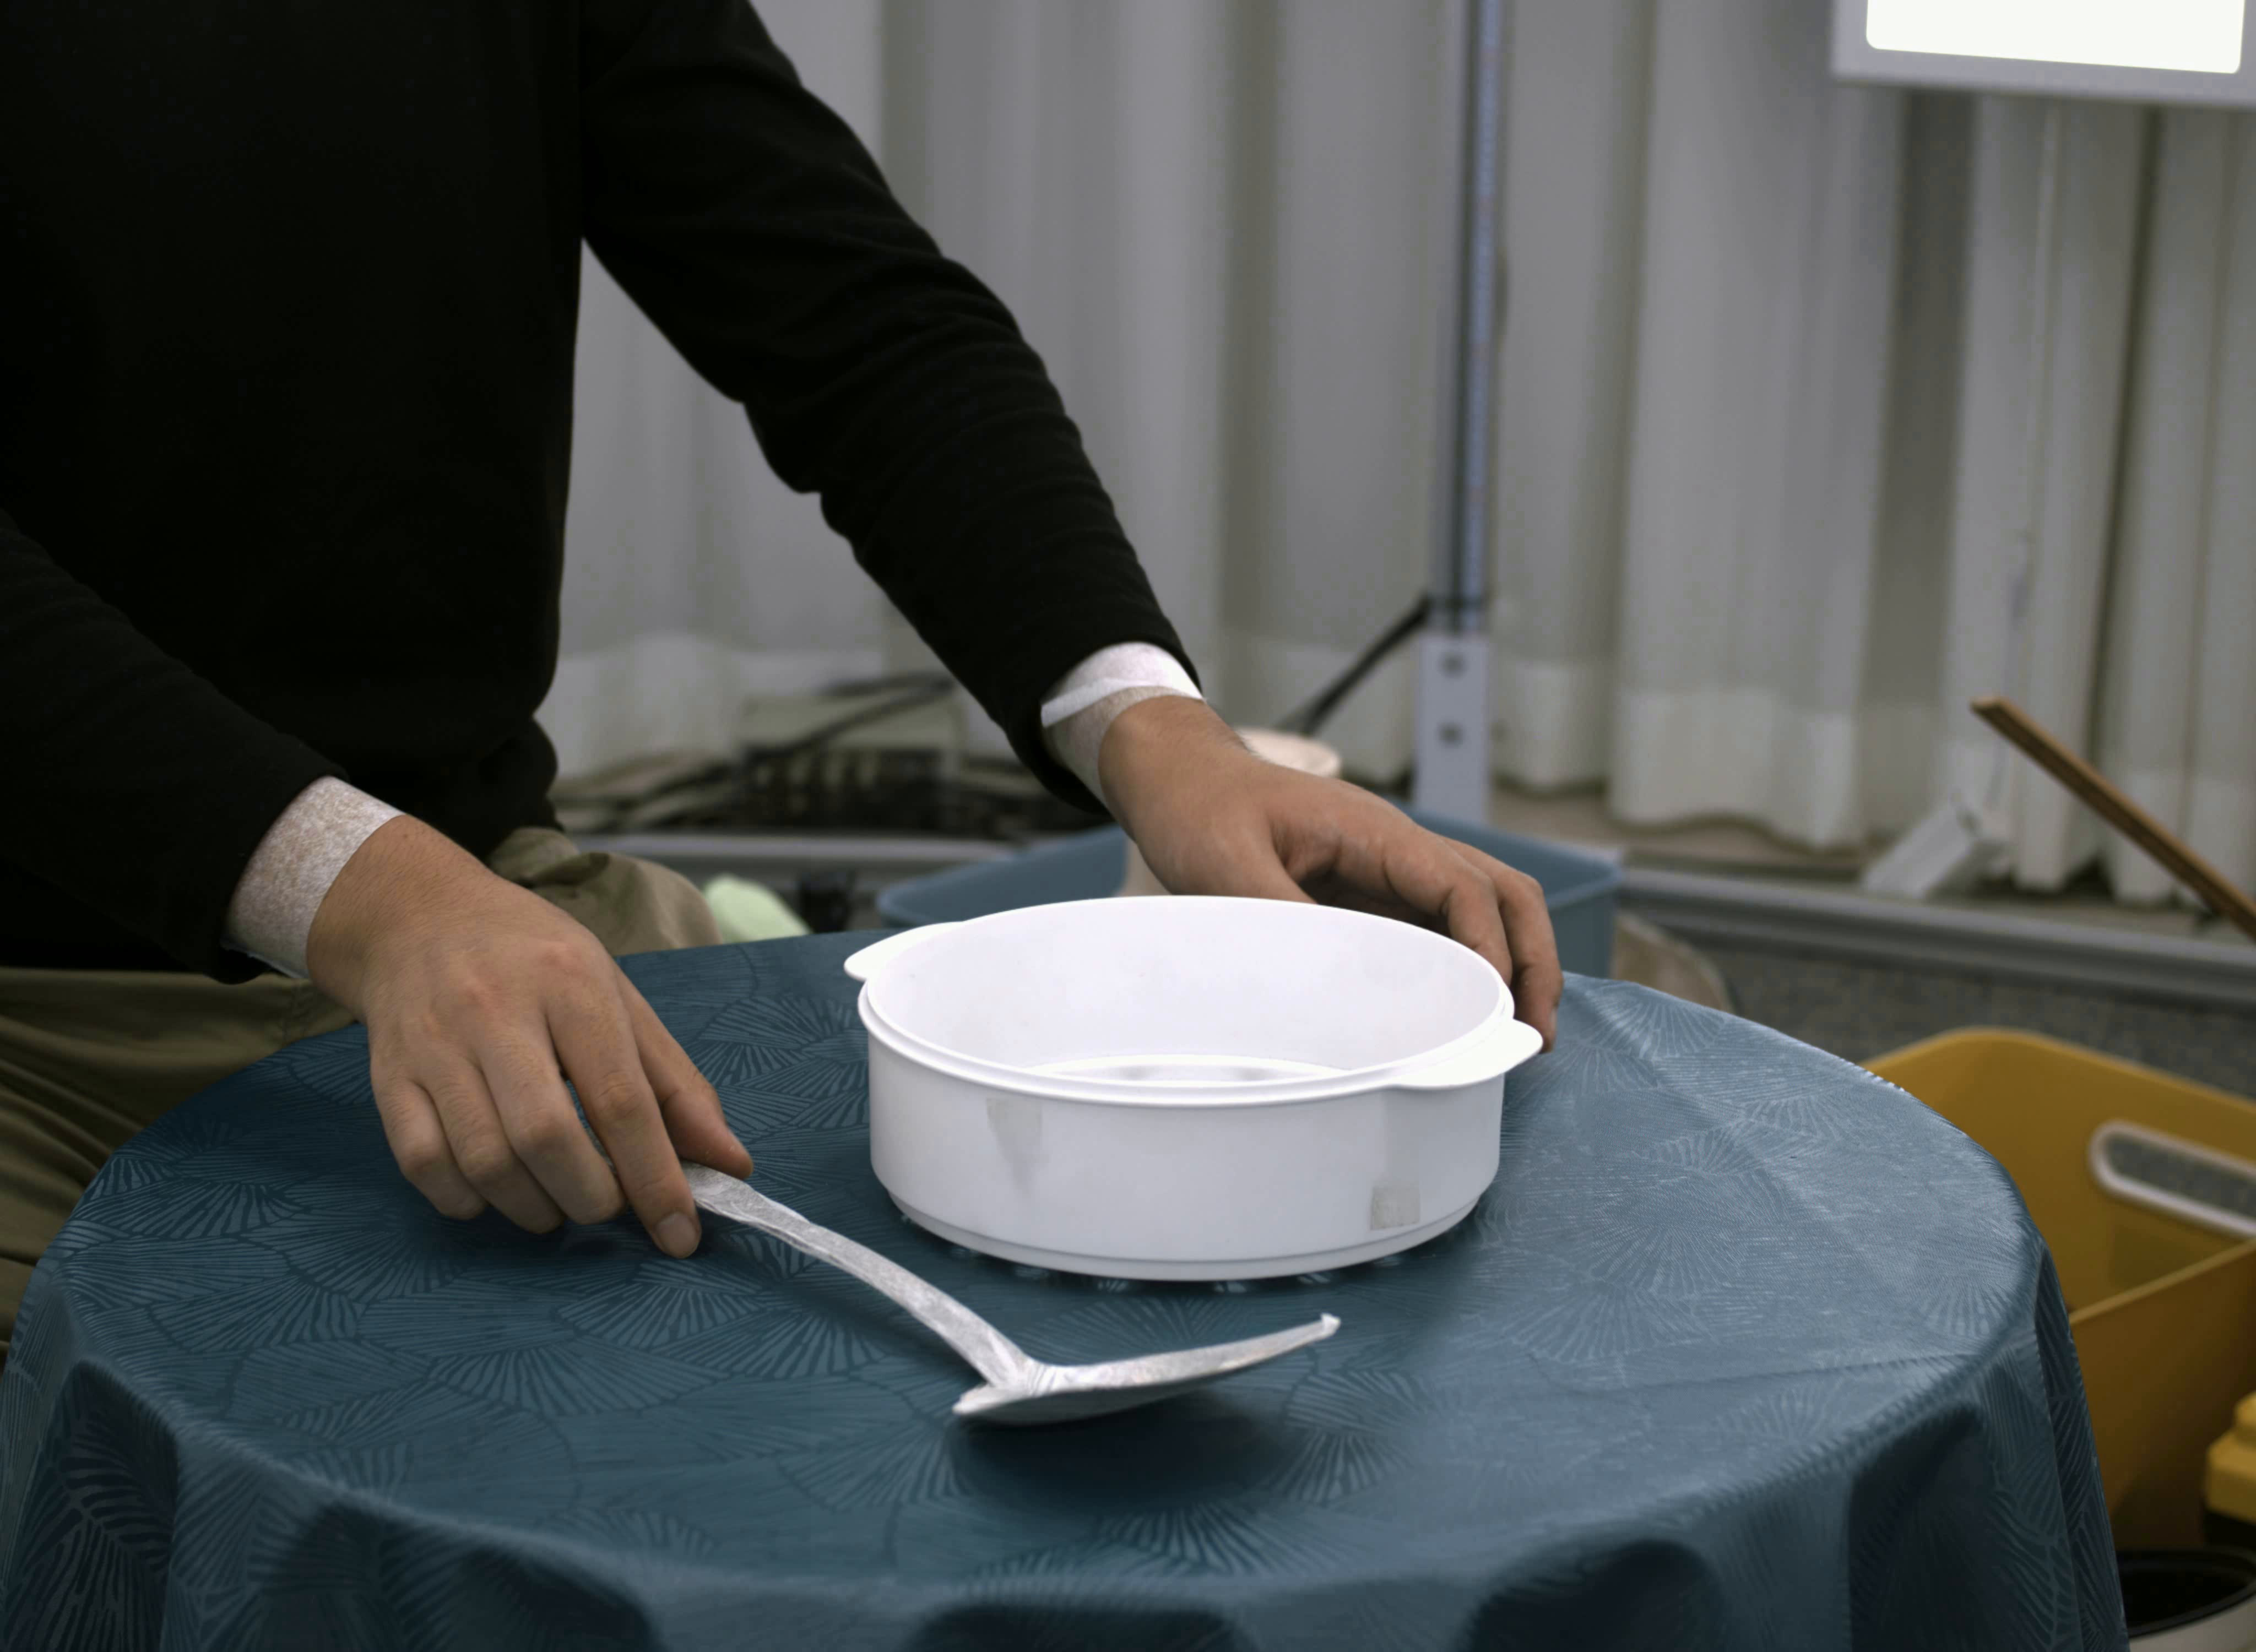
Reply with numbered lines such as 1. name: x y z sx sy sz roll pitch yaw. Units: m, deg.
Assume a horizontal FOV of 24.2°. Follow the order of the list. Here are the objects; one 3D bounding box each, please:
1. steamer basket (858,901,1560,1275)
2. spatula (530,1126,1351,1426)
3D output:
1. steamer basket: 0.022 0.079 1.608 0.228 0.070 0.202 9 17 32
2. spatula: -0.079 0.120 1.519 0.099 0.045 0.360 -13 21 -37
